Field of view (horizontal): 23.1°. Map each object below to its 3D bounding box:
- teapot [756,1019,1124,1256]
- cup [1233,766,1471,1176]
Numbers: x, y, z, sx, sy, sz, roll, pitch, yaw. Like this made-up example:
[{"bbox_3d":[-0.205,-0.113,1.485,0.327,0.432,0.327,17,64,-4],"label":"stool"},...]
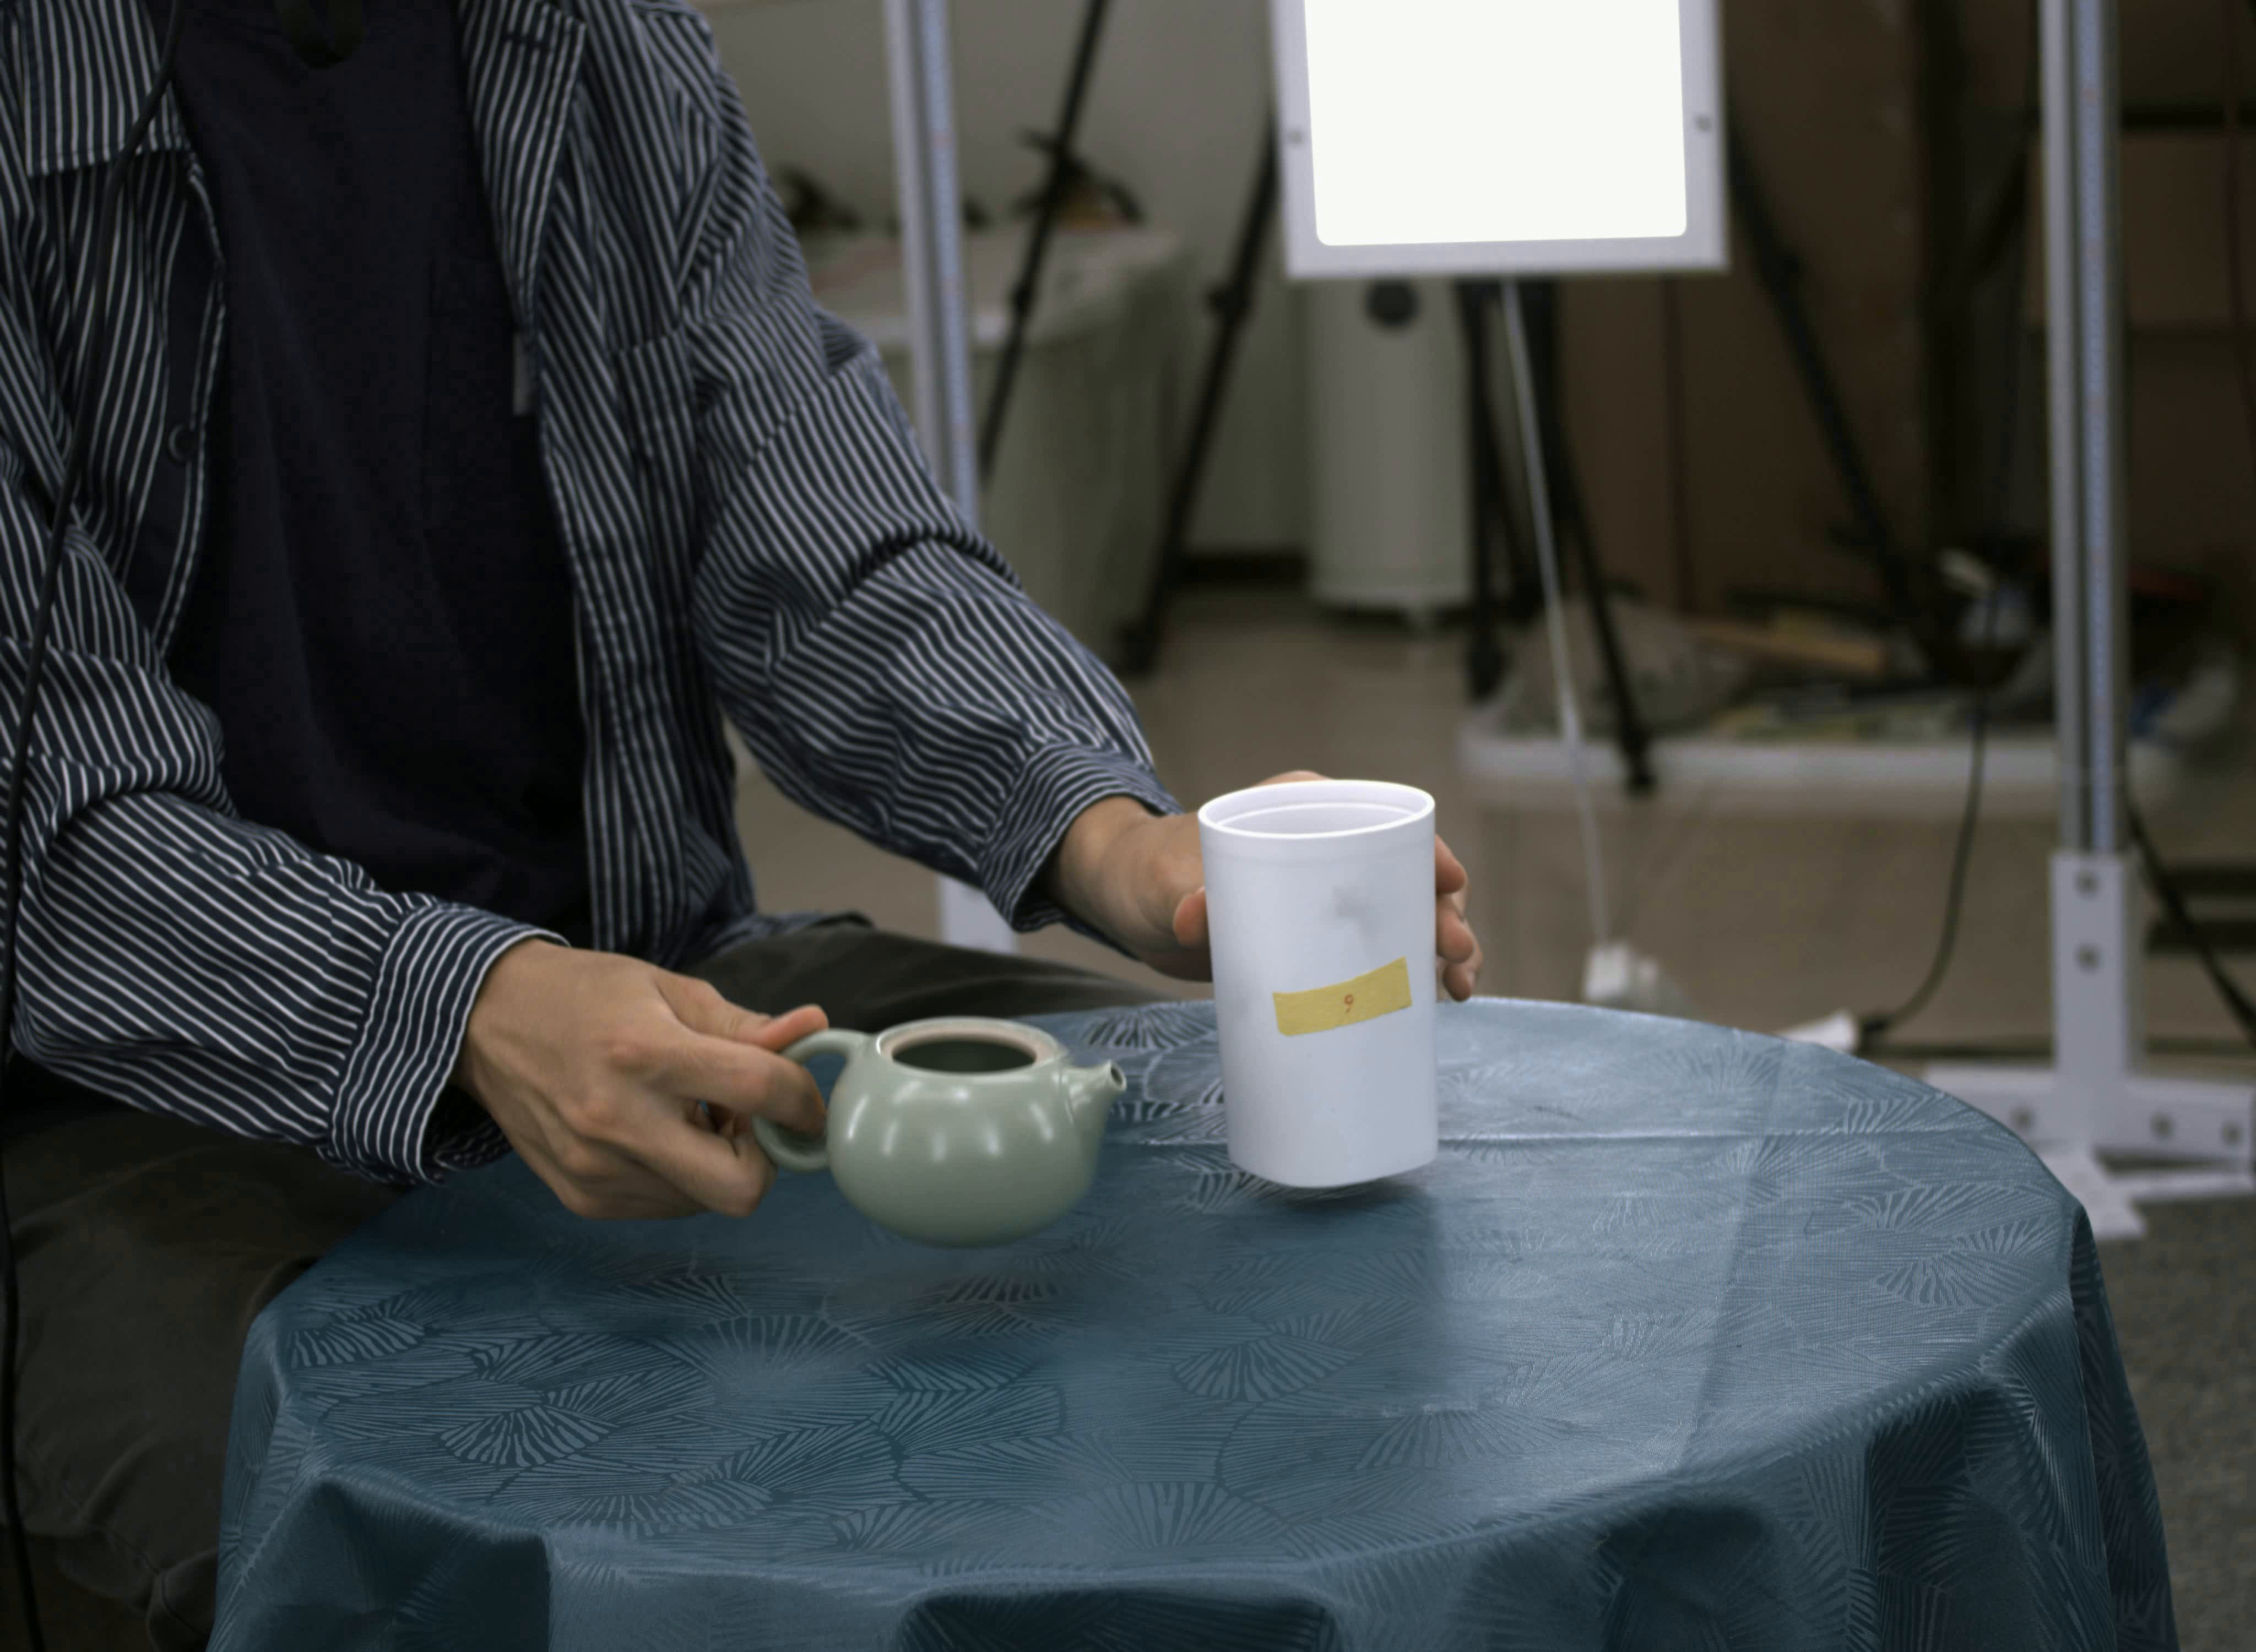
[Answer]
[{"bbox_3d":[-0.062,0.100,1.785,0.130,0.061,0.090,9,21,22],"label":"teapot"},{"bbox_3d":[0.079,0.049,1.870,0.081,0.126,0.081,-4,13,-1],"label":"cup"}]
